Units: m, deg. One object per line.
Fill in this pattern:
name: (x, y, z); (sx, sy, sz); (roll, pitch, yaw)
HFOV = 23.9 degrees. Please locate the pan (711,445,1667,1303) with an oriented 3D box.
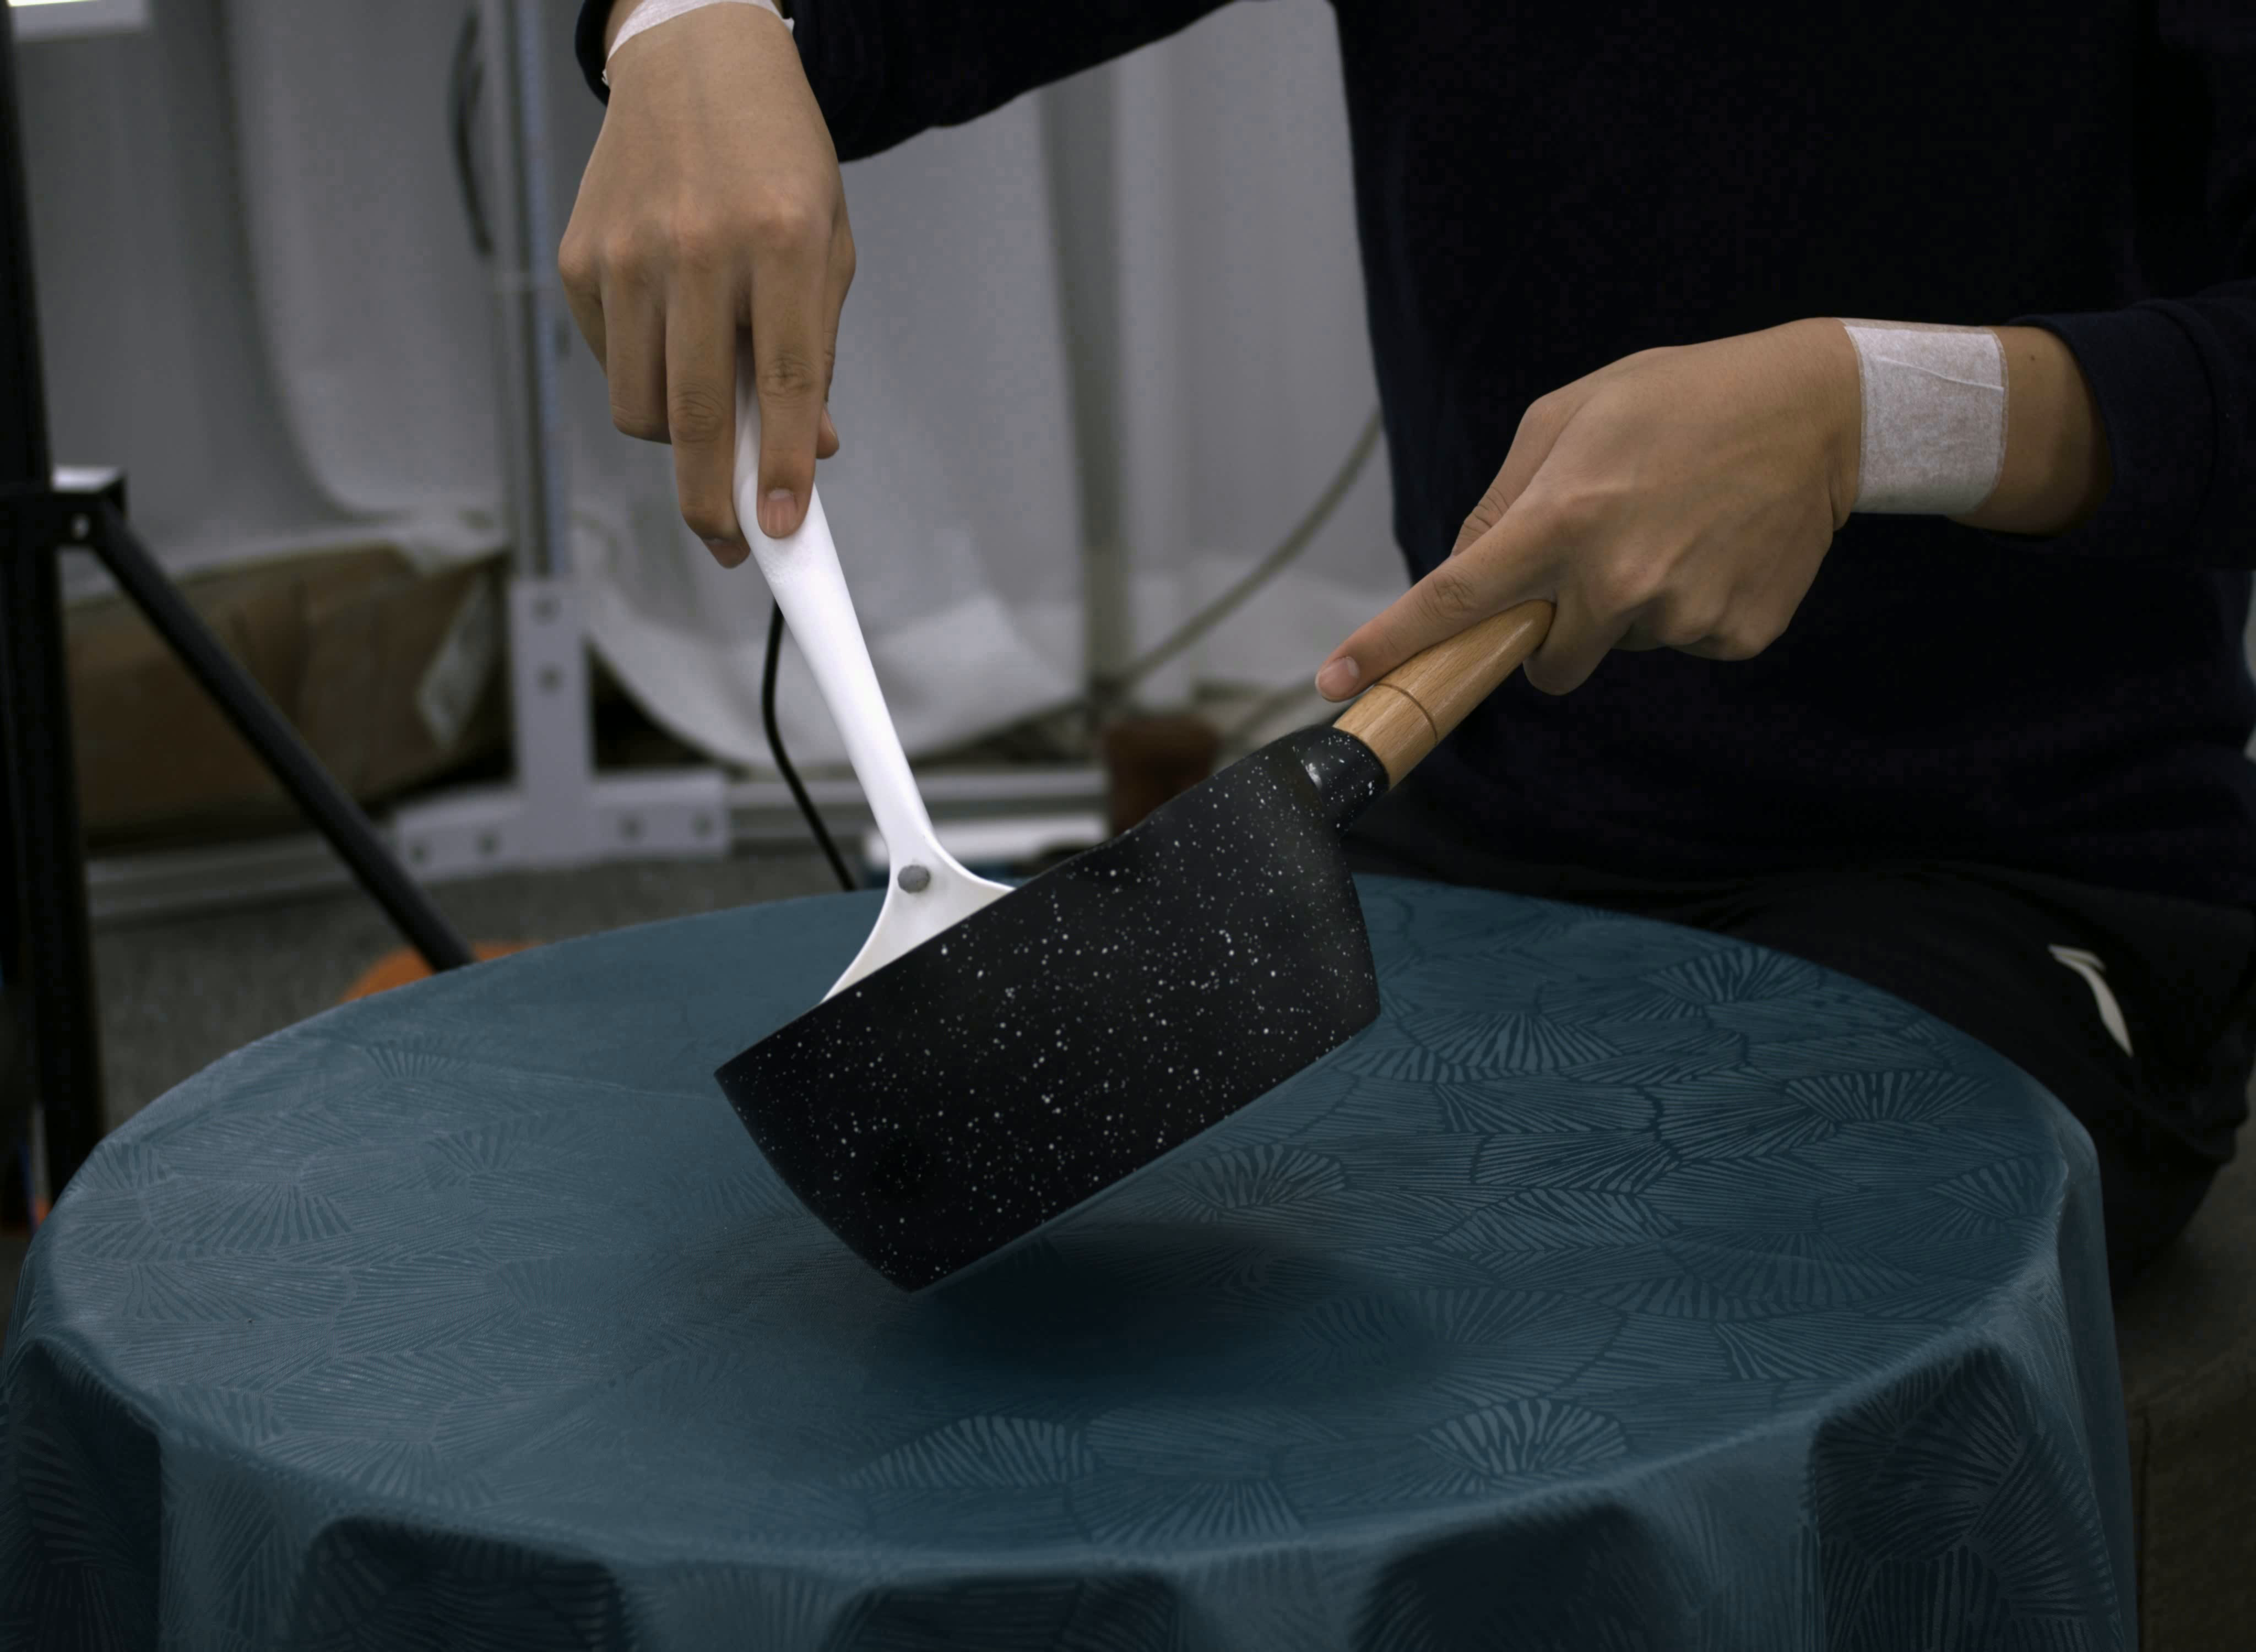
pan: (0.042, 0.012, 1.501); (0.338, 0.108, 0.209); (-31, -2, -25)

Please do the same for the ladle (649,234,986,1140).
ladle: (-0.095, -0.045, 1.494); (0.068, 0.297, 0.091); (13, -41, -46)
